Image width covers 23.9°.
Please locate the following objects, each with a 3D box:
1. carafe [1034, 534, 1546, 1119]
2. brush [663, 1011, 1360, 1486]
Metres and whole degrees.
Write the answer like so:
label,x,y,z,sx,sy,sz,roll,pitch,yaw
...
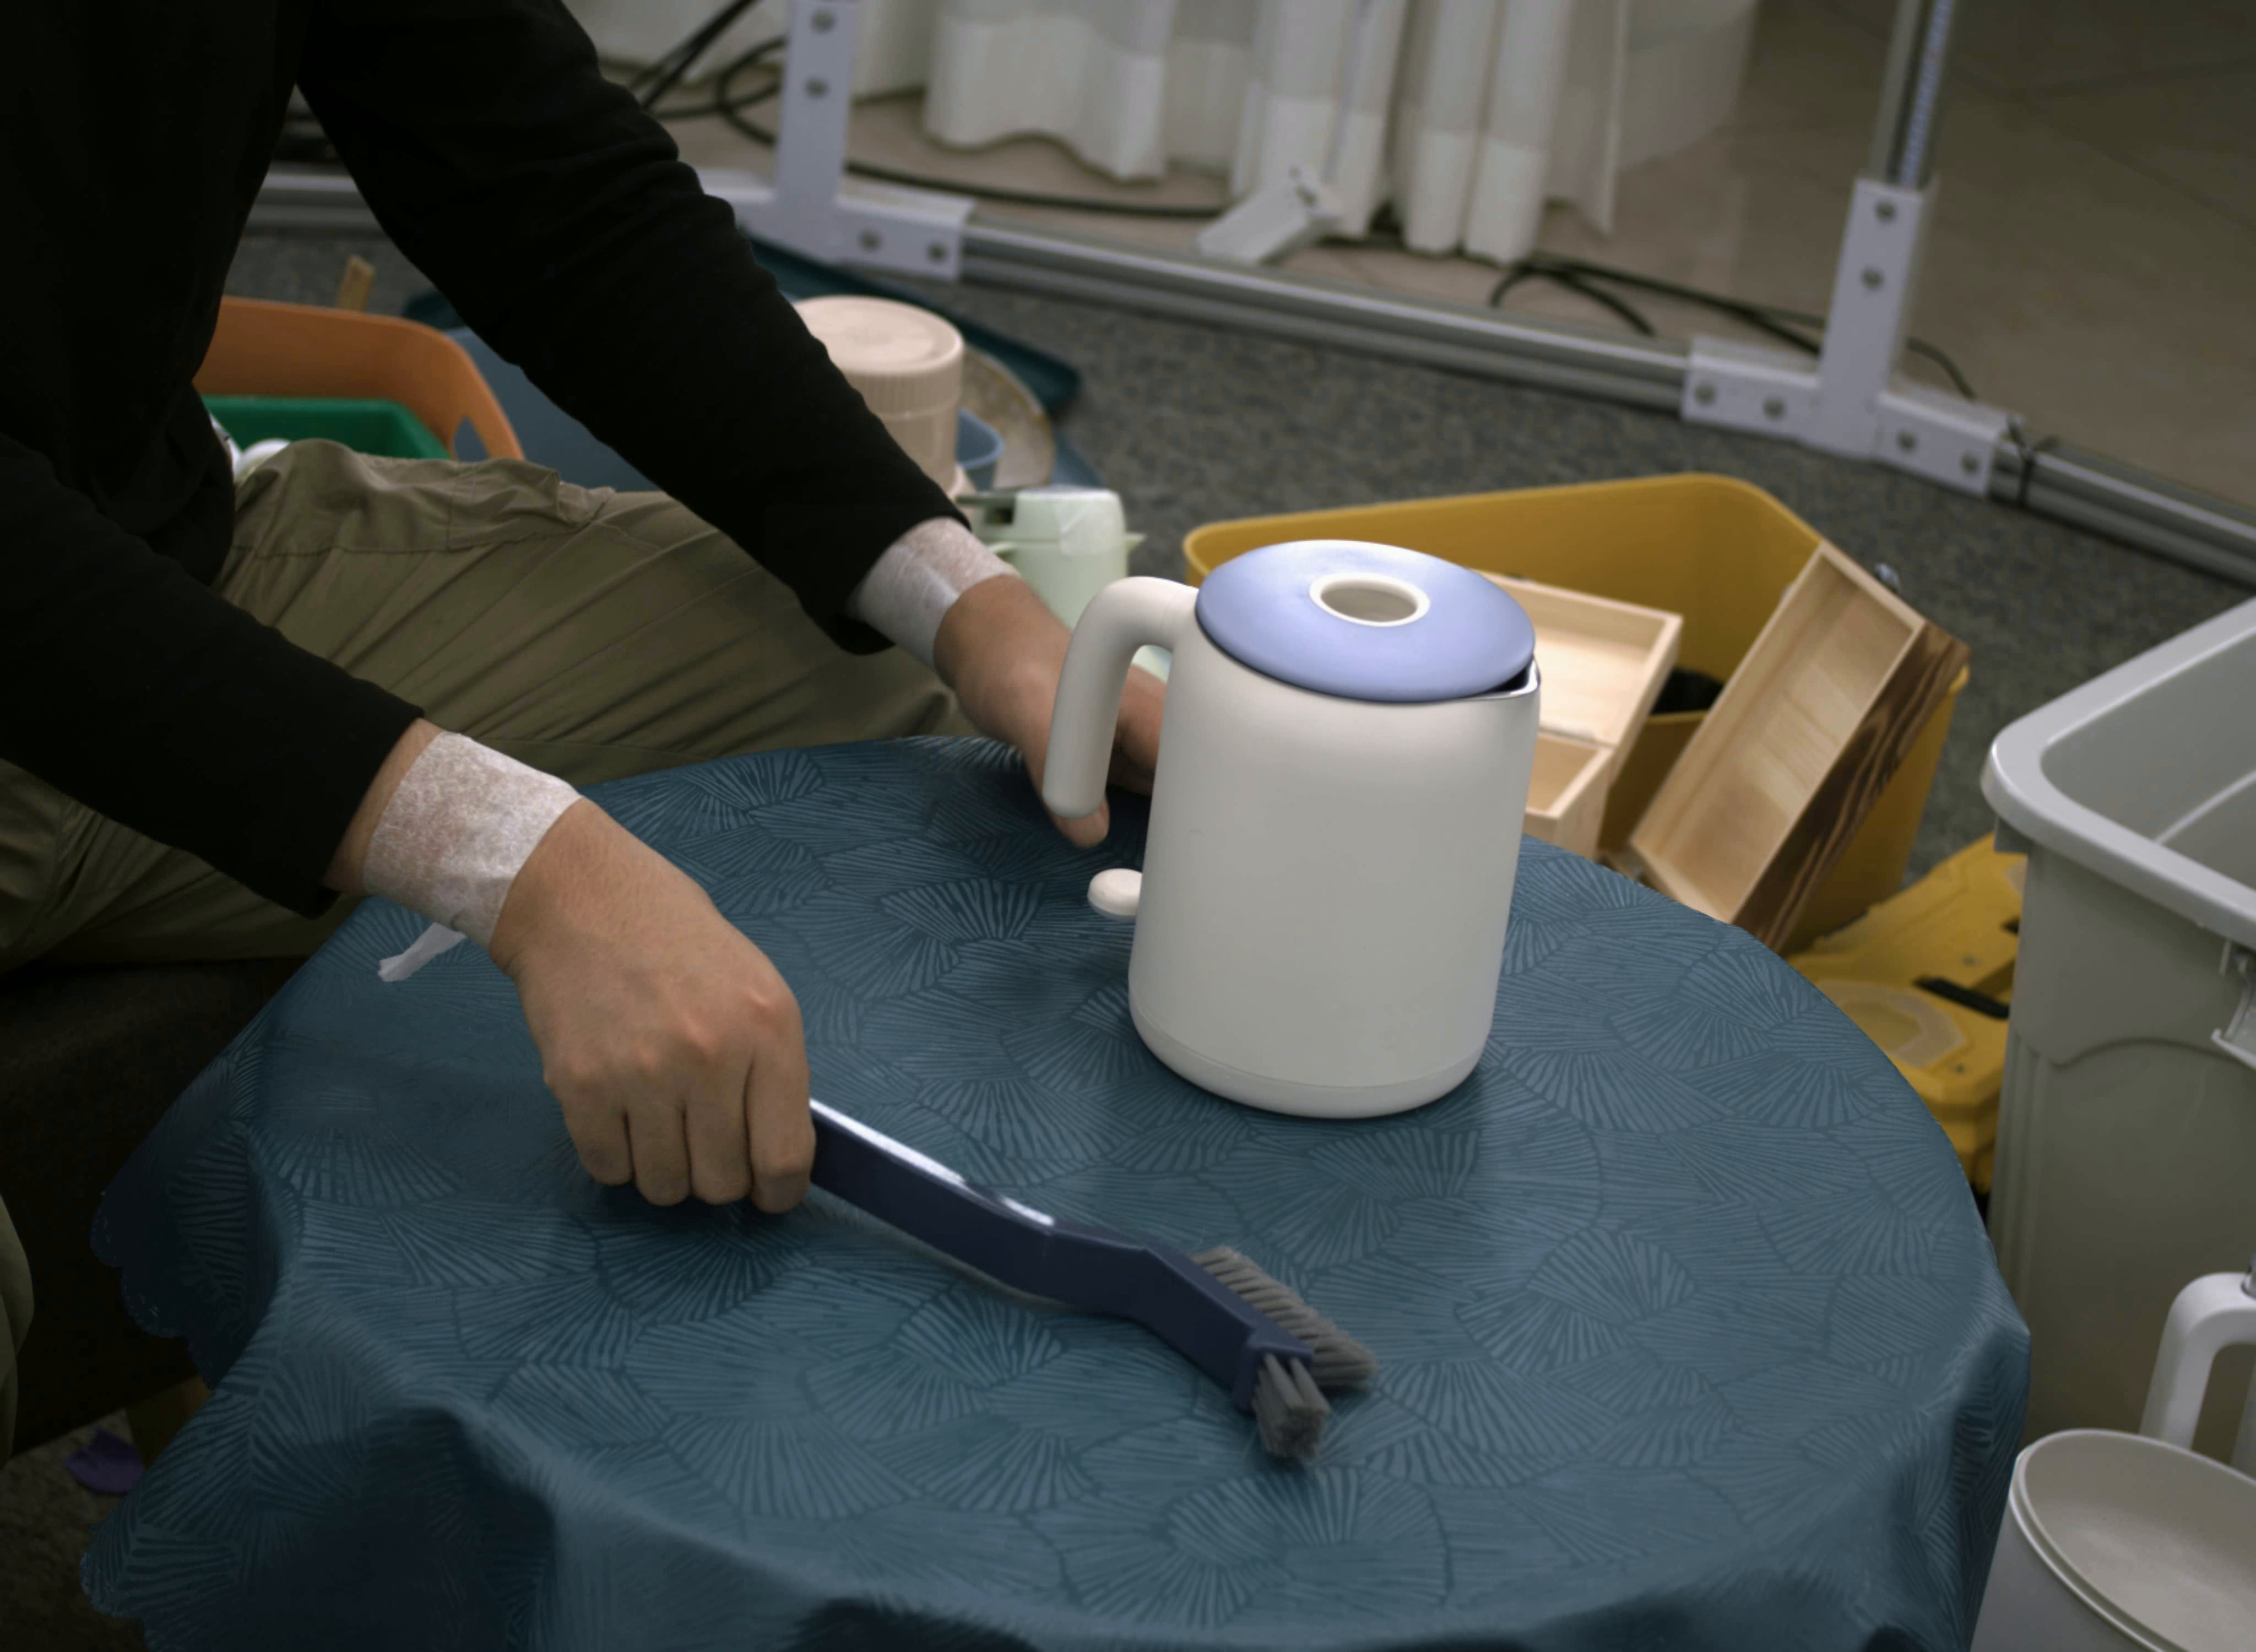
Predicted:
label,x,y,z,sx,sy,sz,roll,pitch,yaw
carafe,0.052,-0.008,1.883,0.192,0.182,0.132,19,29,26
brush,-0.050,0.133,1.730,0.274,0.033,0.095,21,30,20
